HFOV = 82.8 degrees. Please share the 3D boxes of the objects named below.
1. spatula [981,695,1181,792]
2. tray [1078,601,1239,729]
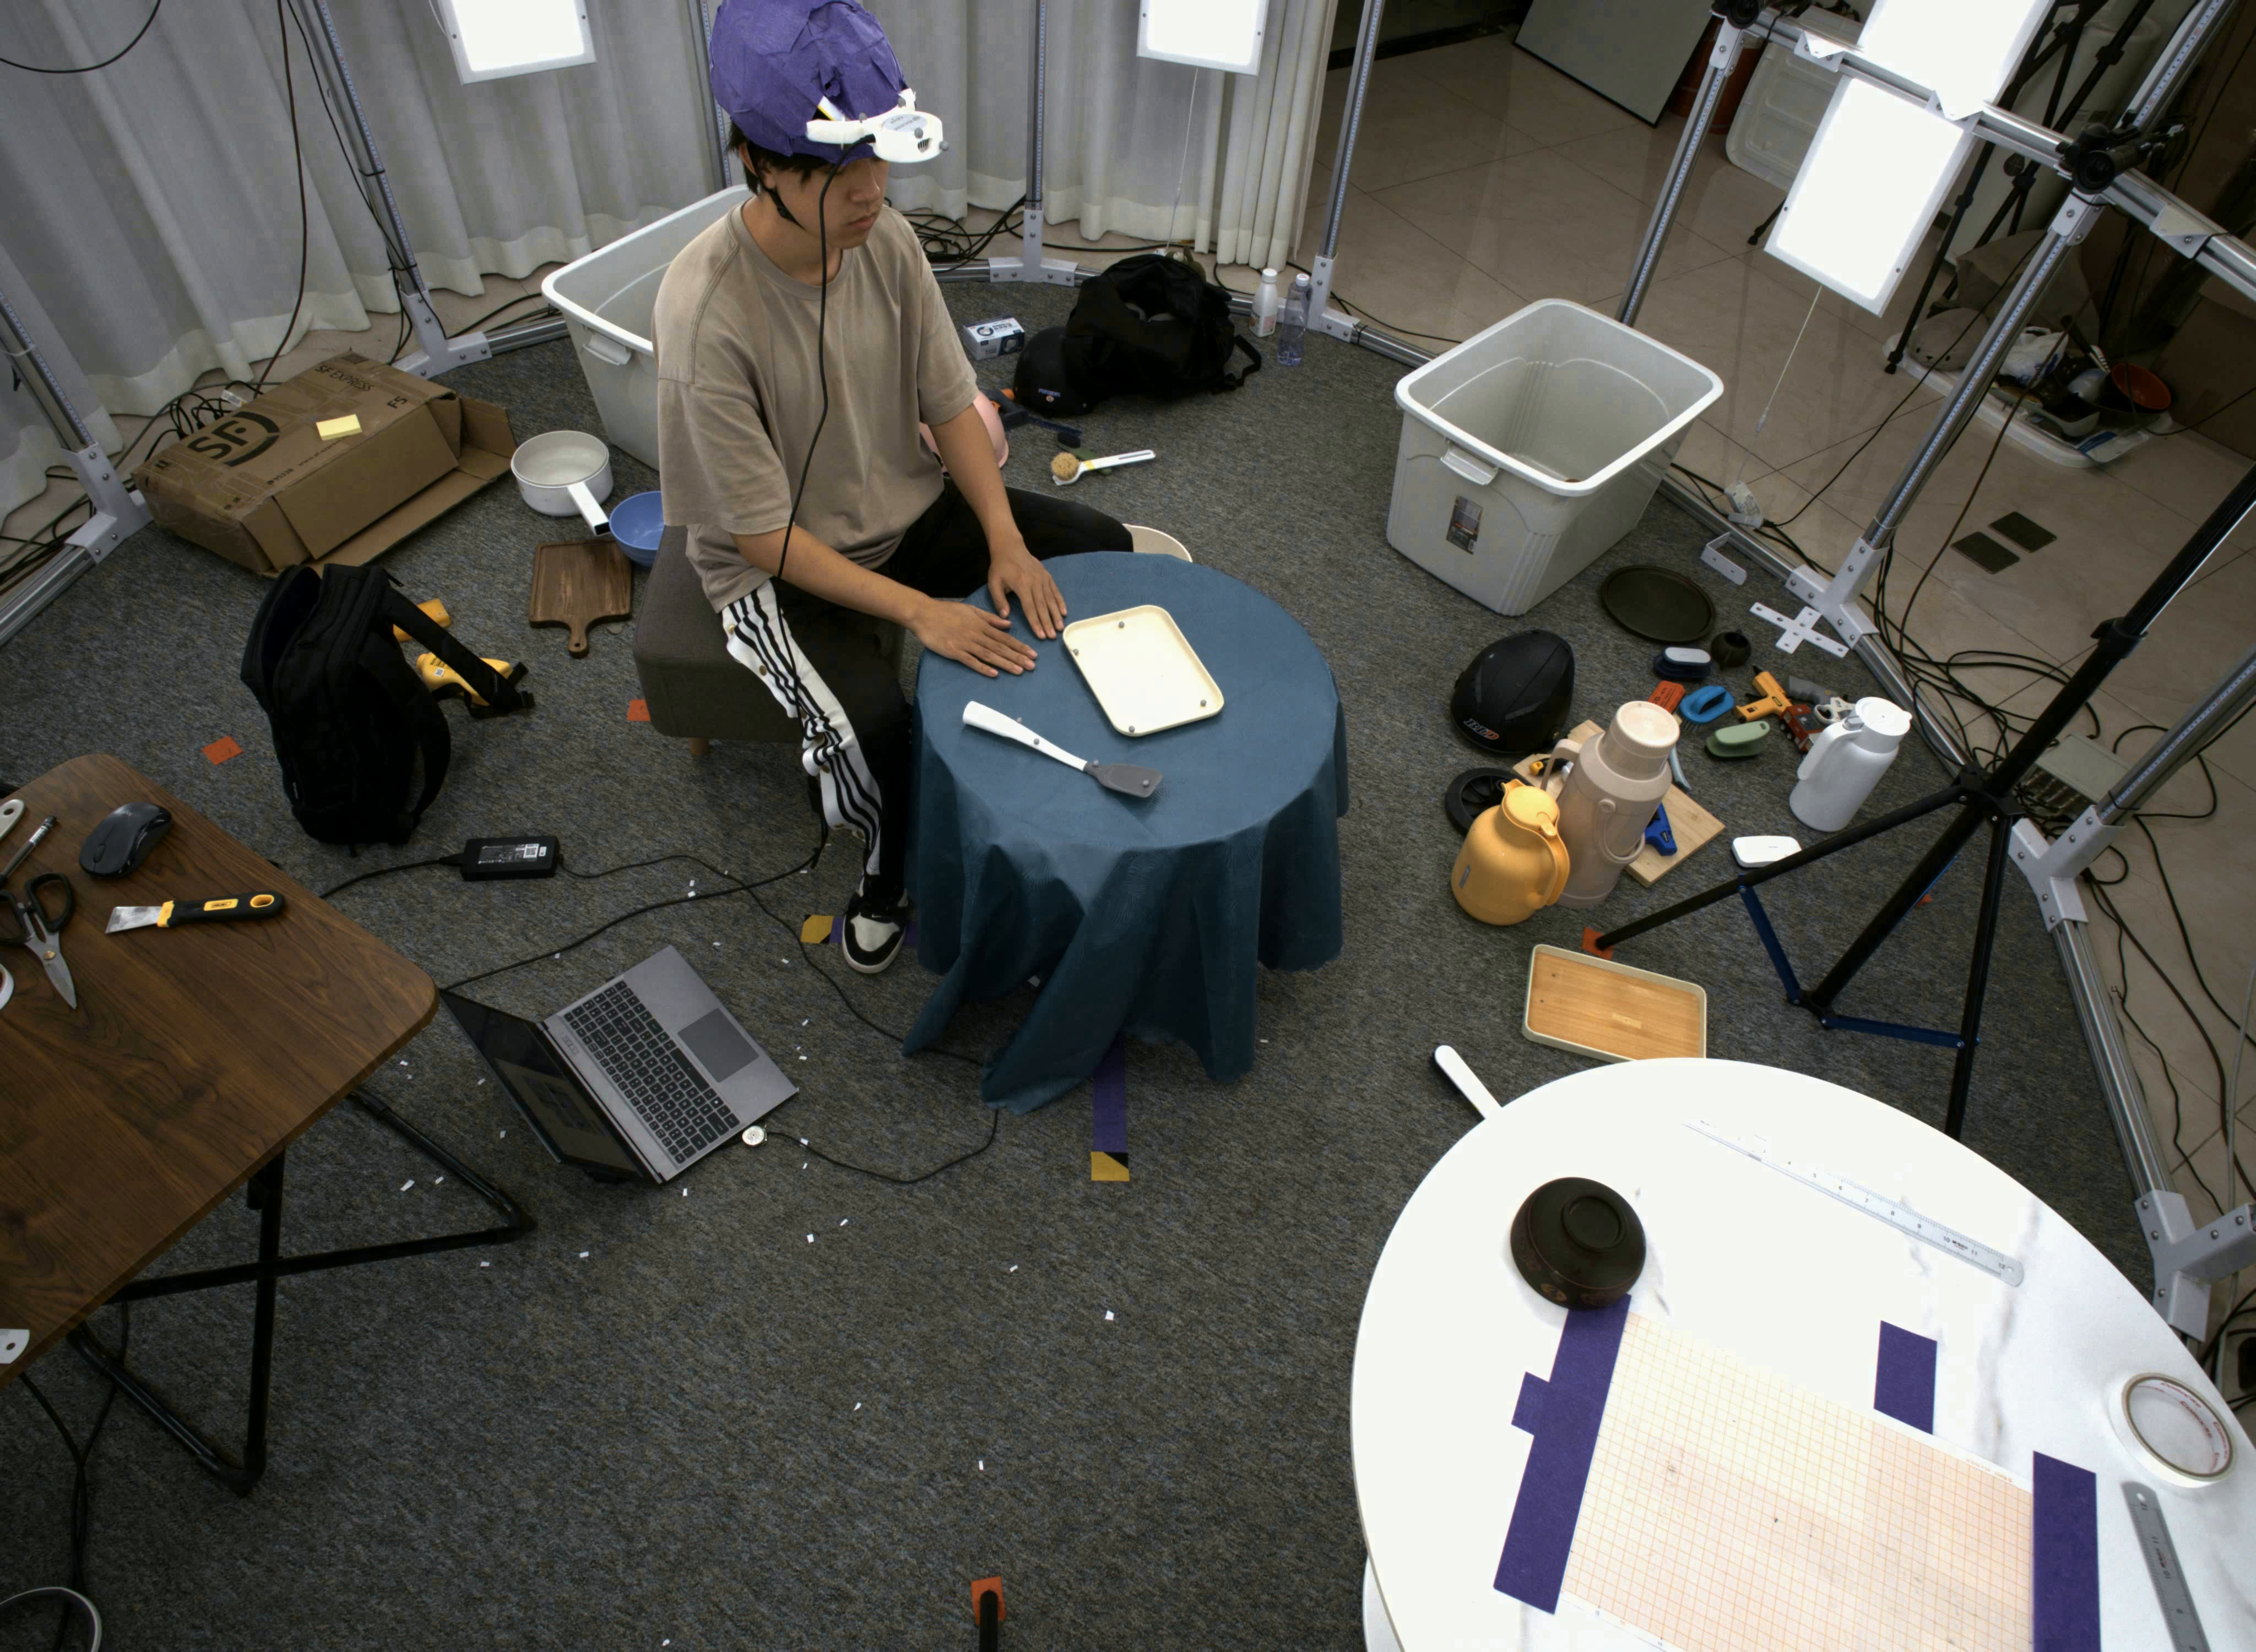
[{"bbox_3d":[-0.065,-0.110,1.719,0.289,0.031,0.059,23,47,15],"label":"spatula"},{"bbox_3d":[0.041,-0.234,1.849,0.171,0.017,0.245,-15,52,-19],"label":"tray"}]
